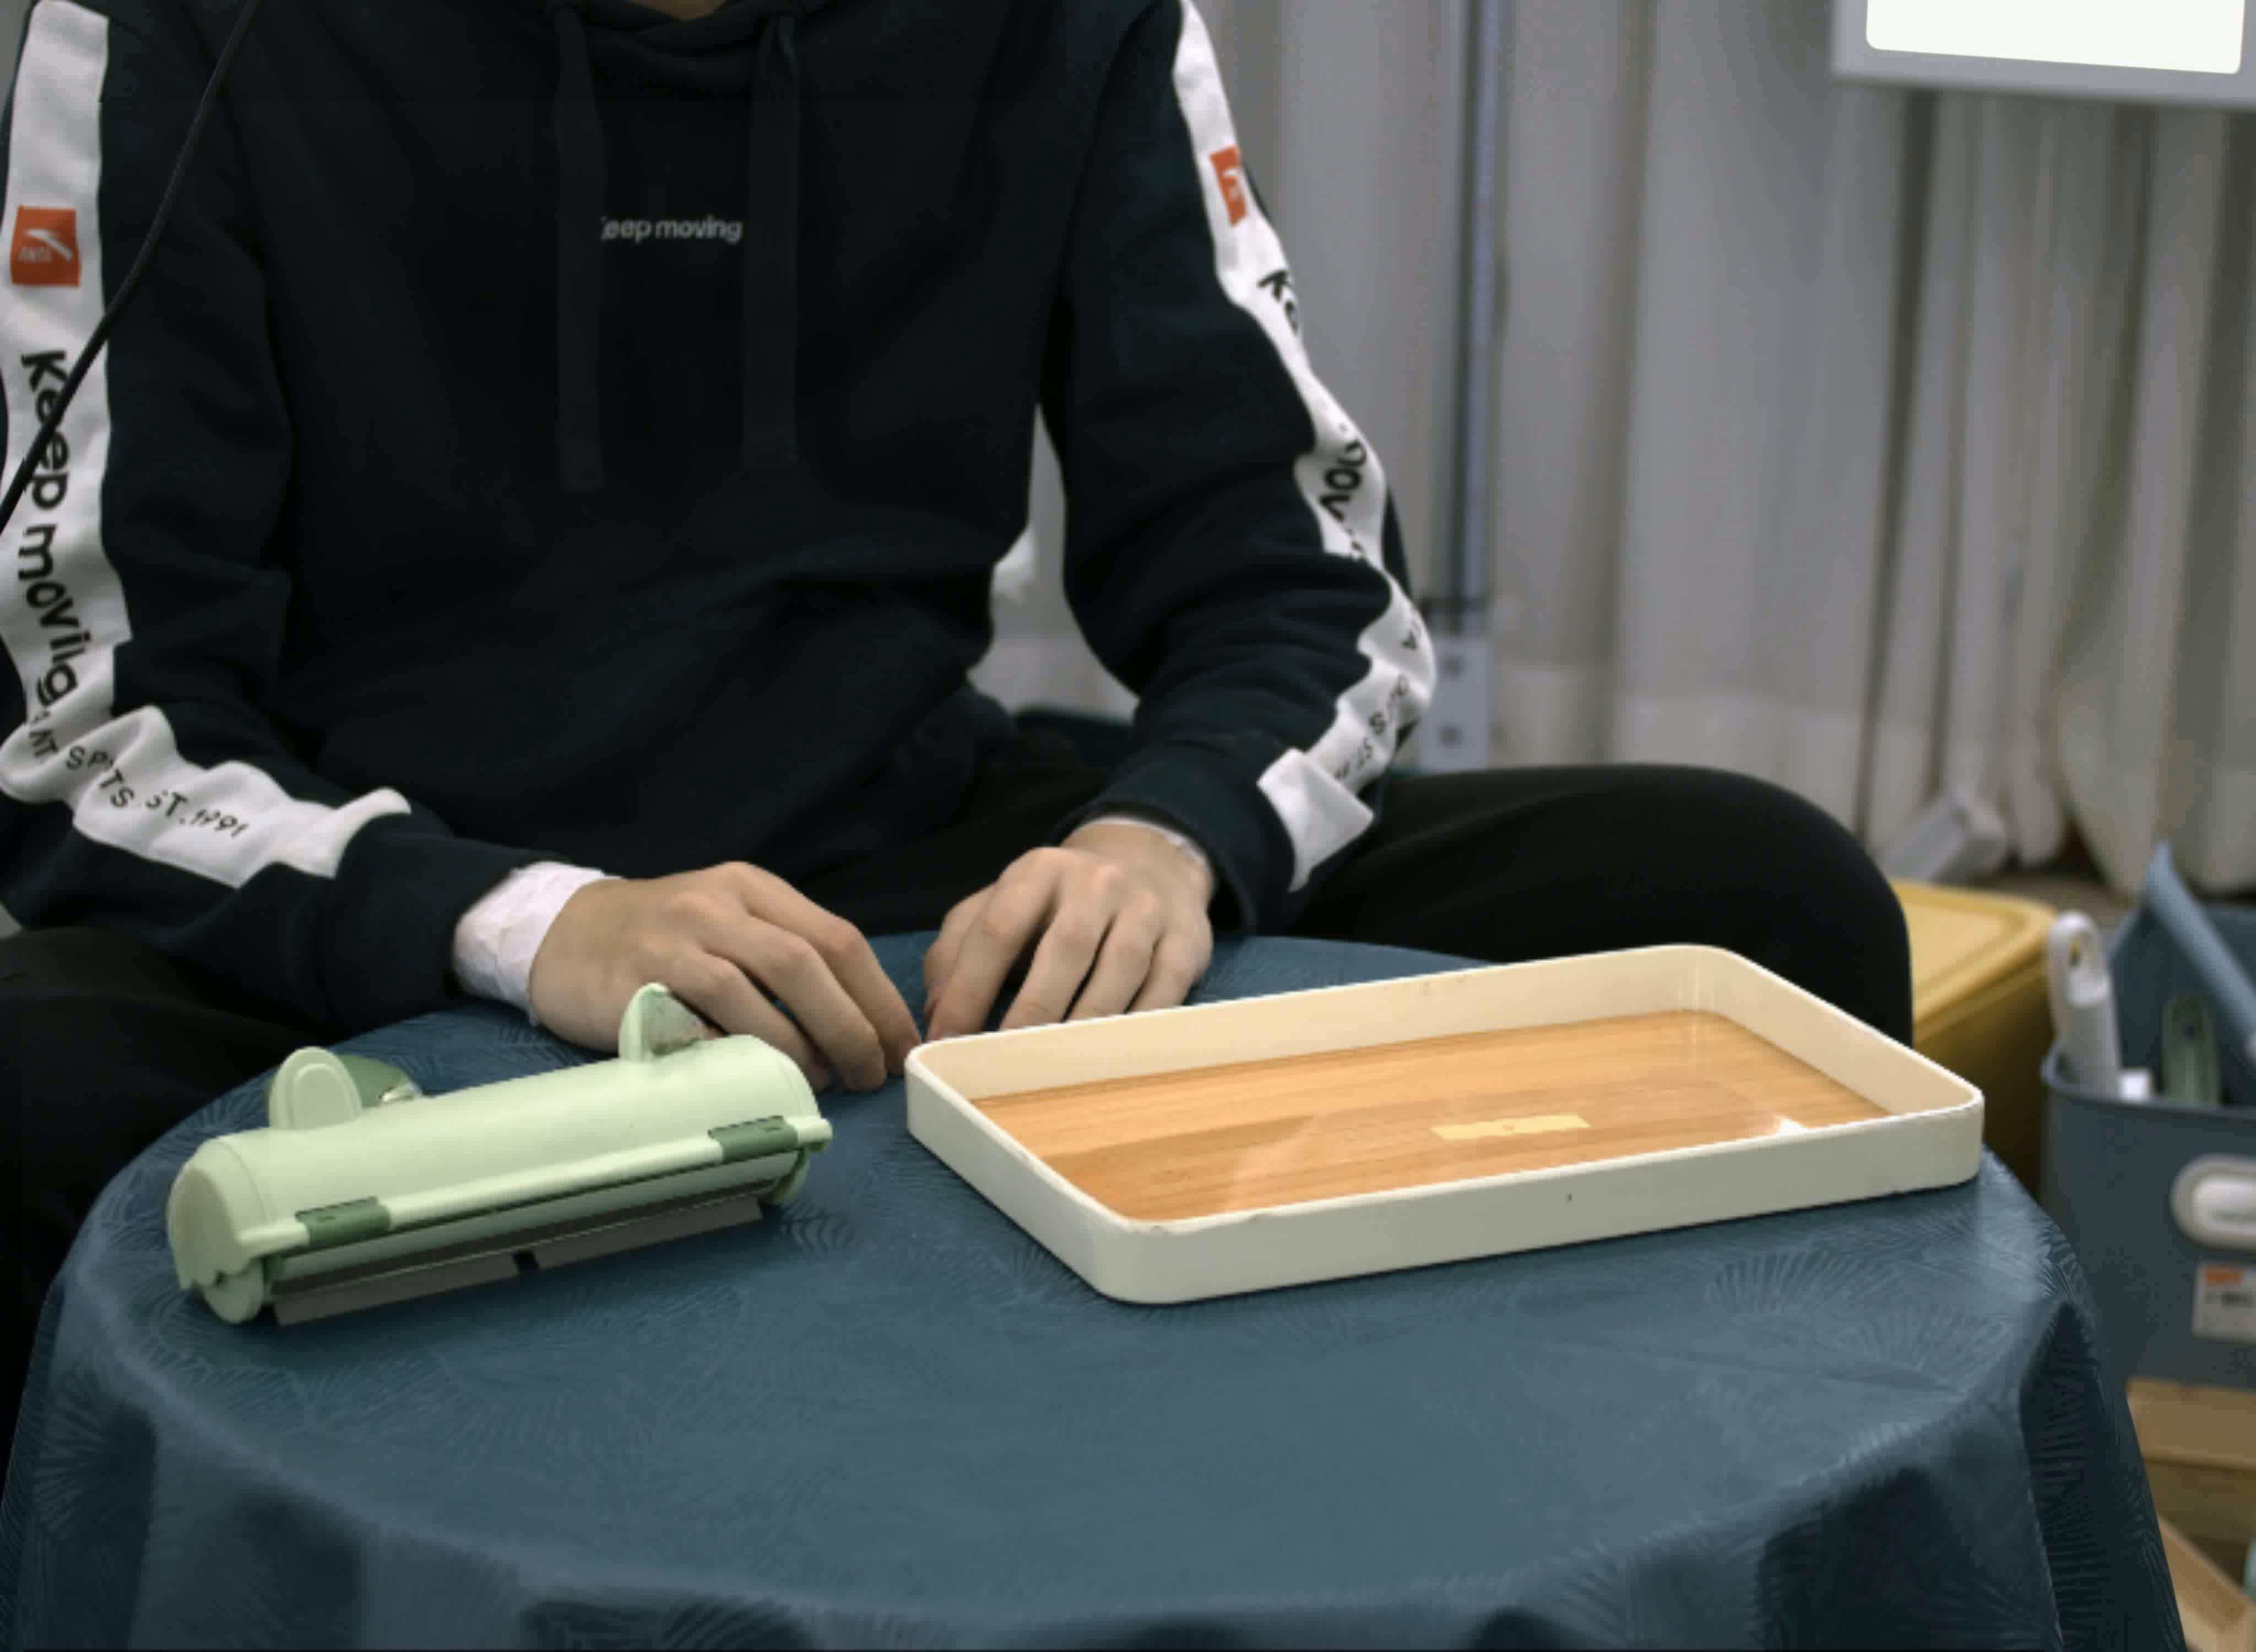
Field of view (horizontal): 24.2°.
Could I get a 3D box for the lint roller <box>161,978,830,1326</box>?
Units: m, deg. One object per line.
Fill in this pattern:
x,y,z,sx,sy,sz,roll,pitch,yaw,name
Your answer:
-0.216,0.080,1.590,0.199,0.083,0.181,-10,24,-33,lint roller

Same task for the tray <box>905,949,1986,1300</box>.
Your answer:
0.098,0.090,1.652,0.301,0.027,0.189,-6,16,-23,tray
